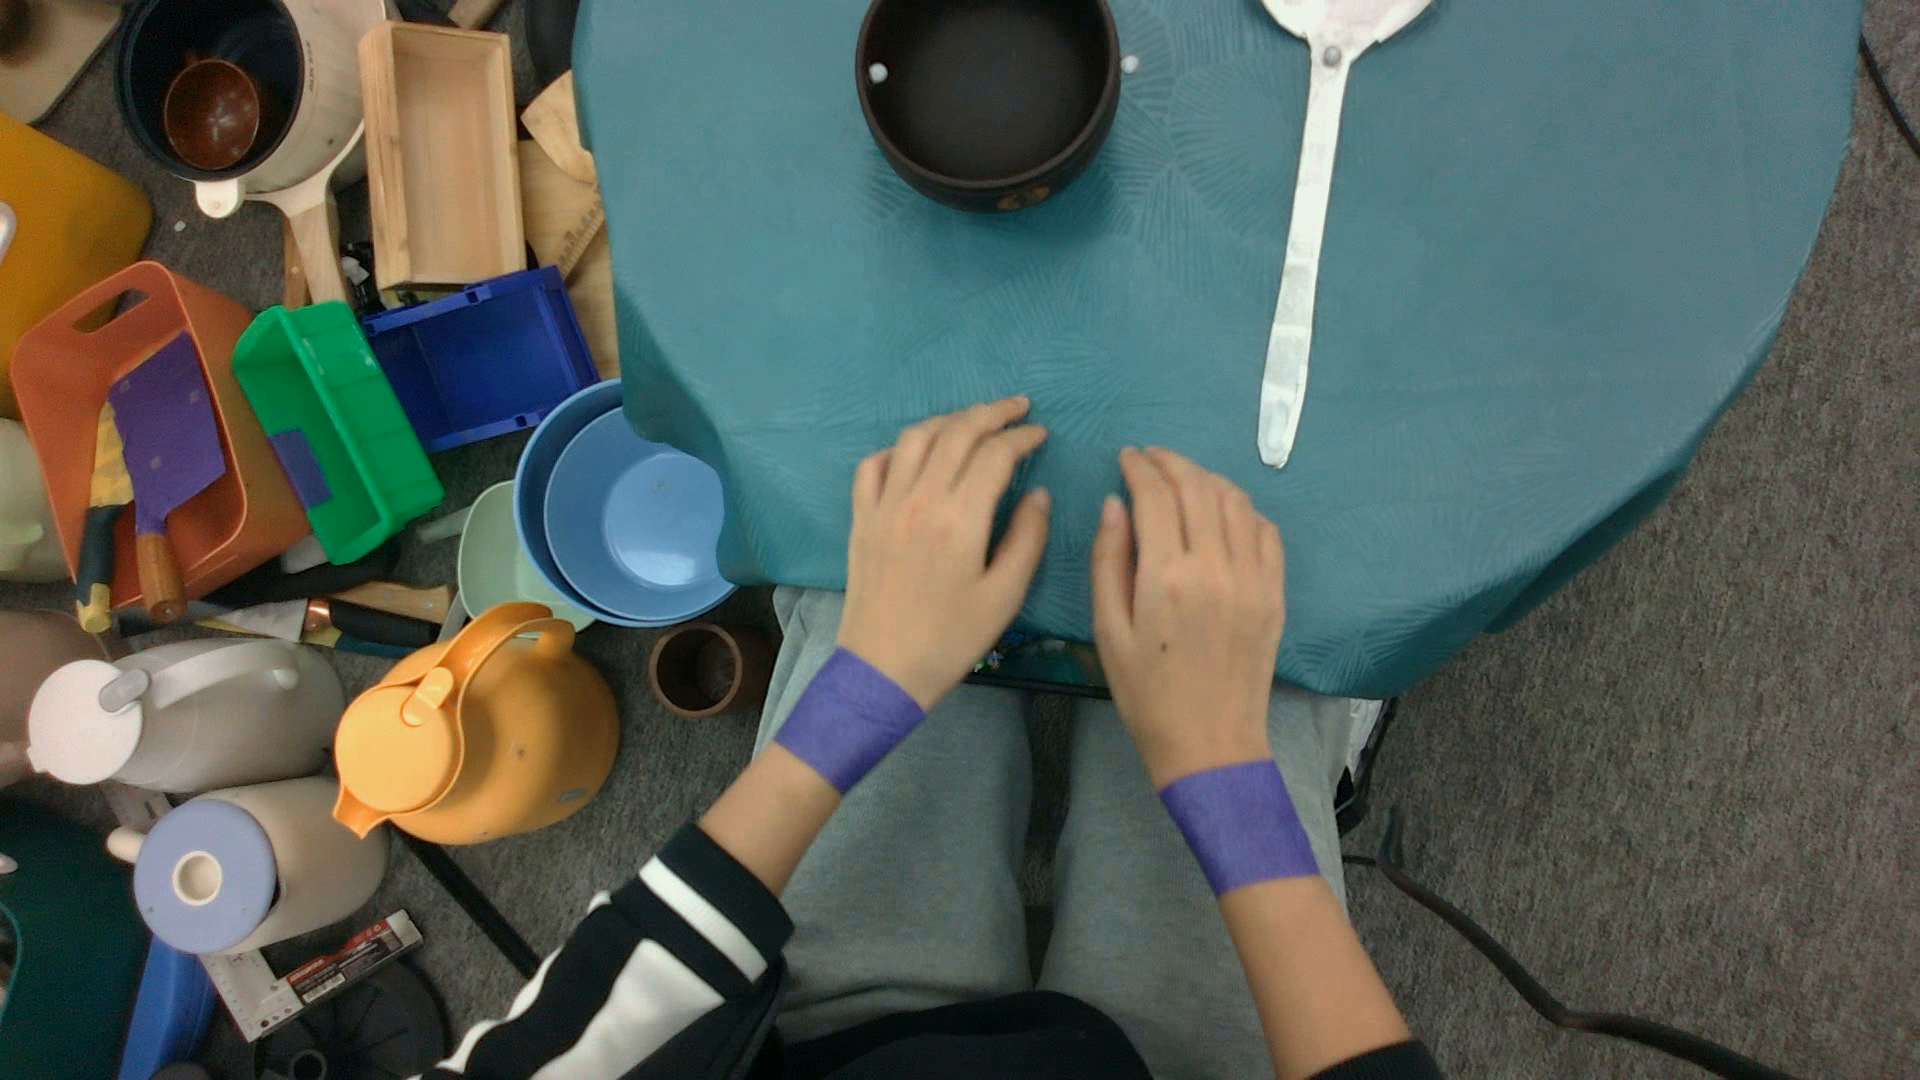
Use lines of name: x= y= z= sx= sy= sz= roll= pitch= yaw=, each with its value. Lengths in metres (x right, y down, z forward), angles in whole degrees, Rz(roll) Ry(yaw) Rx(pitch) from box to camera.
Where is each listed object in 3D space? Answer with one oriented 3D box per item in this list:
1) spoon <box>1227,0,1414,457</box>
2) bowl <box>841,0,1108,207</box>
spoon: x=0.148 y=-0.177 z=0.622 sx=0.100 sy=0.059 sz=0.277 roll=10 pitch=86 yaw=10
bowl: x=0.009 y=-0.208 z=0.630 sx=0.118 sy=0.070 sz=0.118 roll=-1 pitch=85 yaw=6
